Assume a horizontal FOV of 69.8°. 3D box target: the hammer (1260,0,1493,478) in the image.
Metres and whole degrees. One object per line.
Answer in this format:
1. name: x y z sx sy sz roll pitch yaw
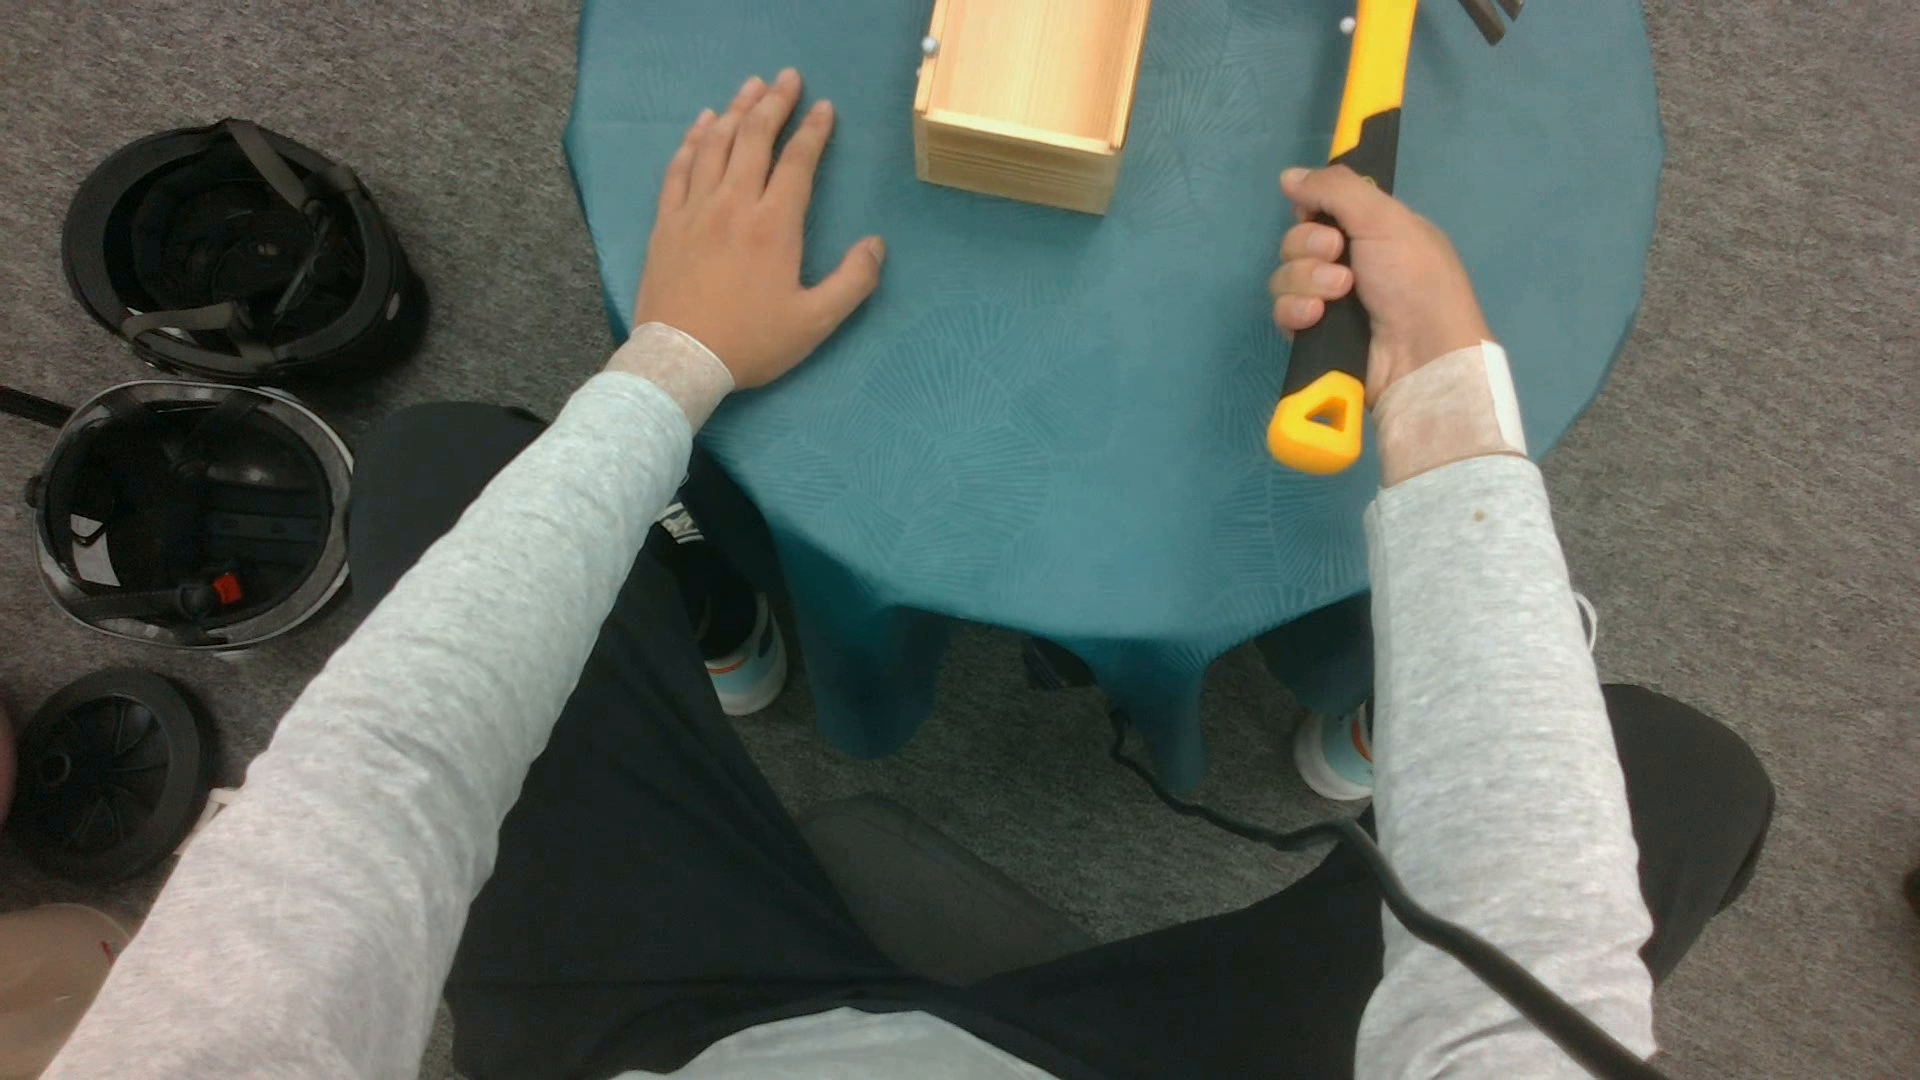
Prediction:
1. hammer: 0.194 -0.185 0.699 0.131 0.032 0.339 14 67 -2

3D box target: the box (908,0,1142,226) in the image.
1. box: 0.043 -0.291 0.747 0.107 0.080 0.212 9 80 1
